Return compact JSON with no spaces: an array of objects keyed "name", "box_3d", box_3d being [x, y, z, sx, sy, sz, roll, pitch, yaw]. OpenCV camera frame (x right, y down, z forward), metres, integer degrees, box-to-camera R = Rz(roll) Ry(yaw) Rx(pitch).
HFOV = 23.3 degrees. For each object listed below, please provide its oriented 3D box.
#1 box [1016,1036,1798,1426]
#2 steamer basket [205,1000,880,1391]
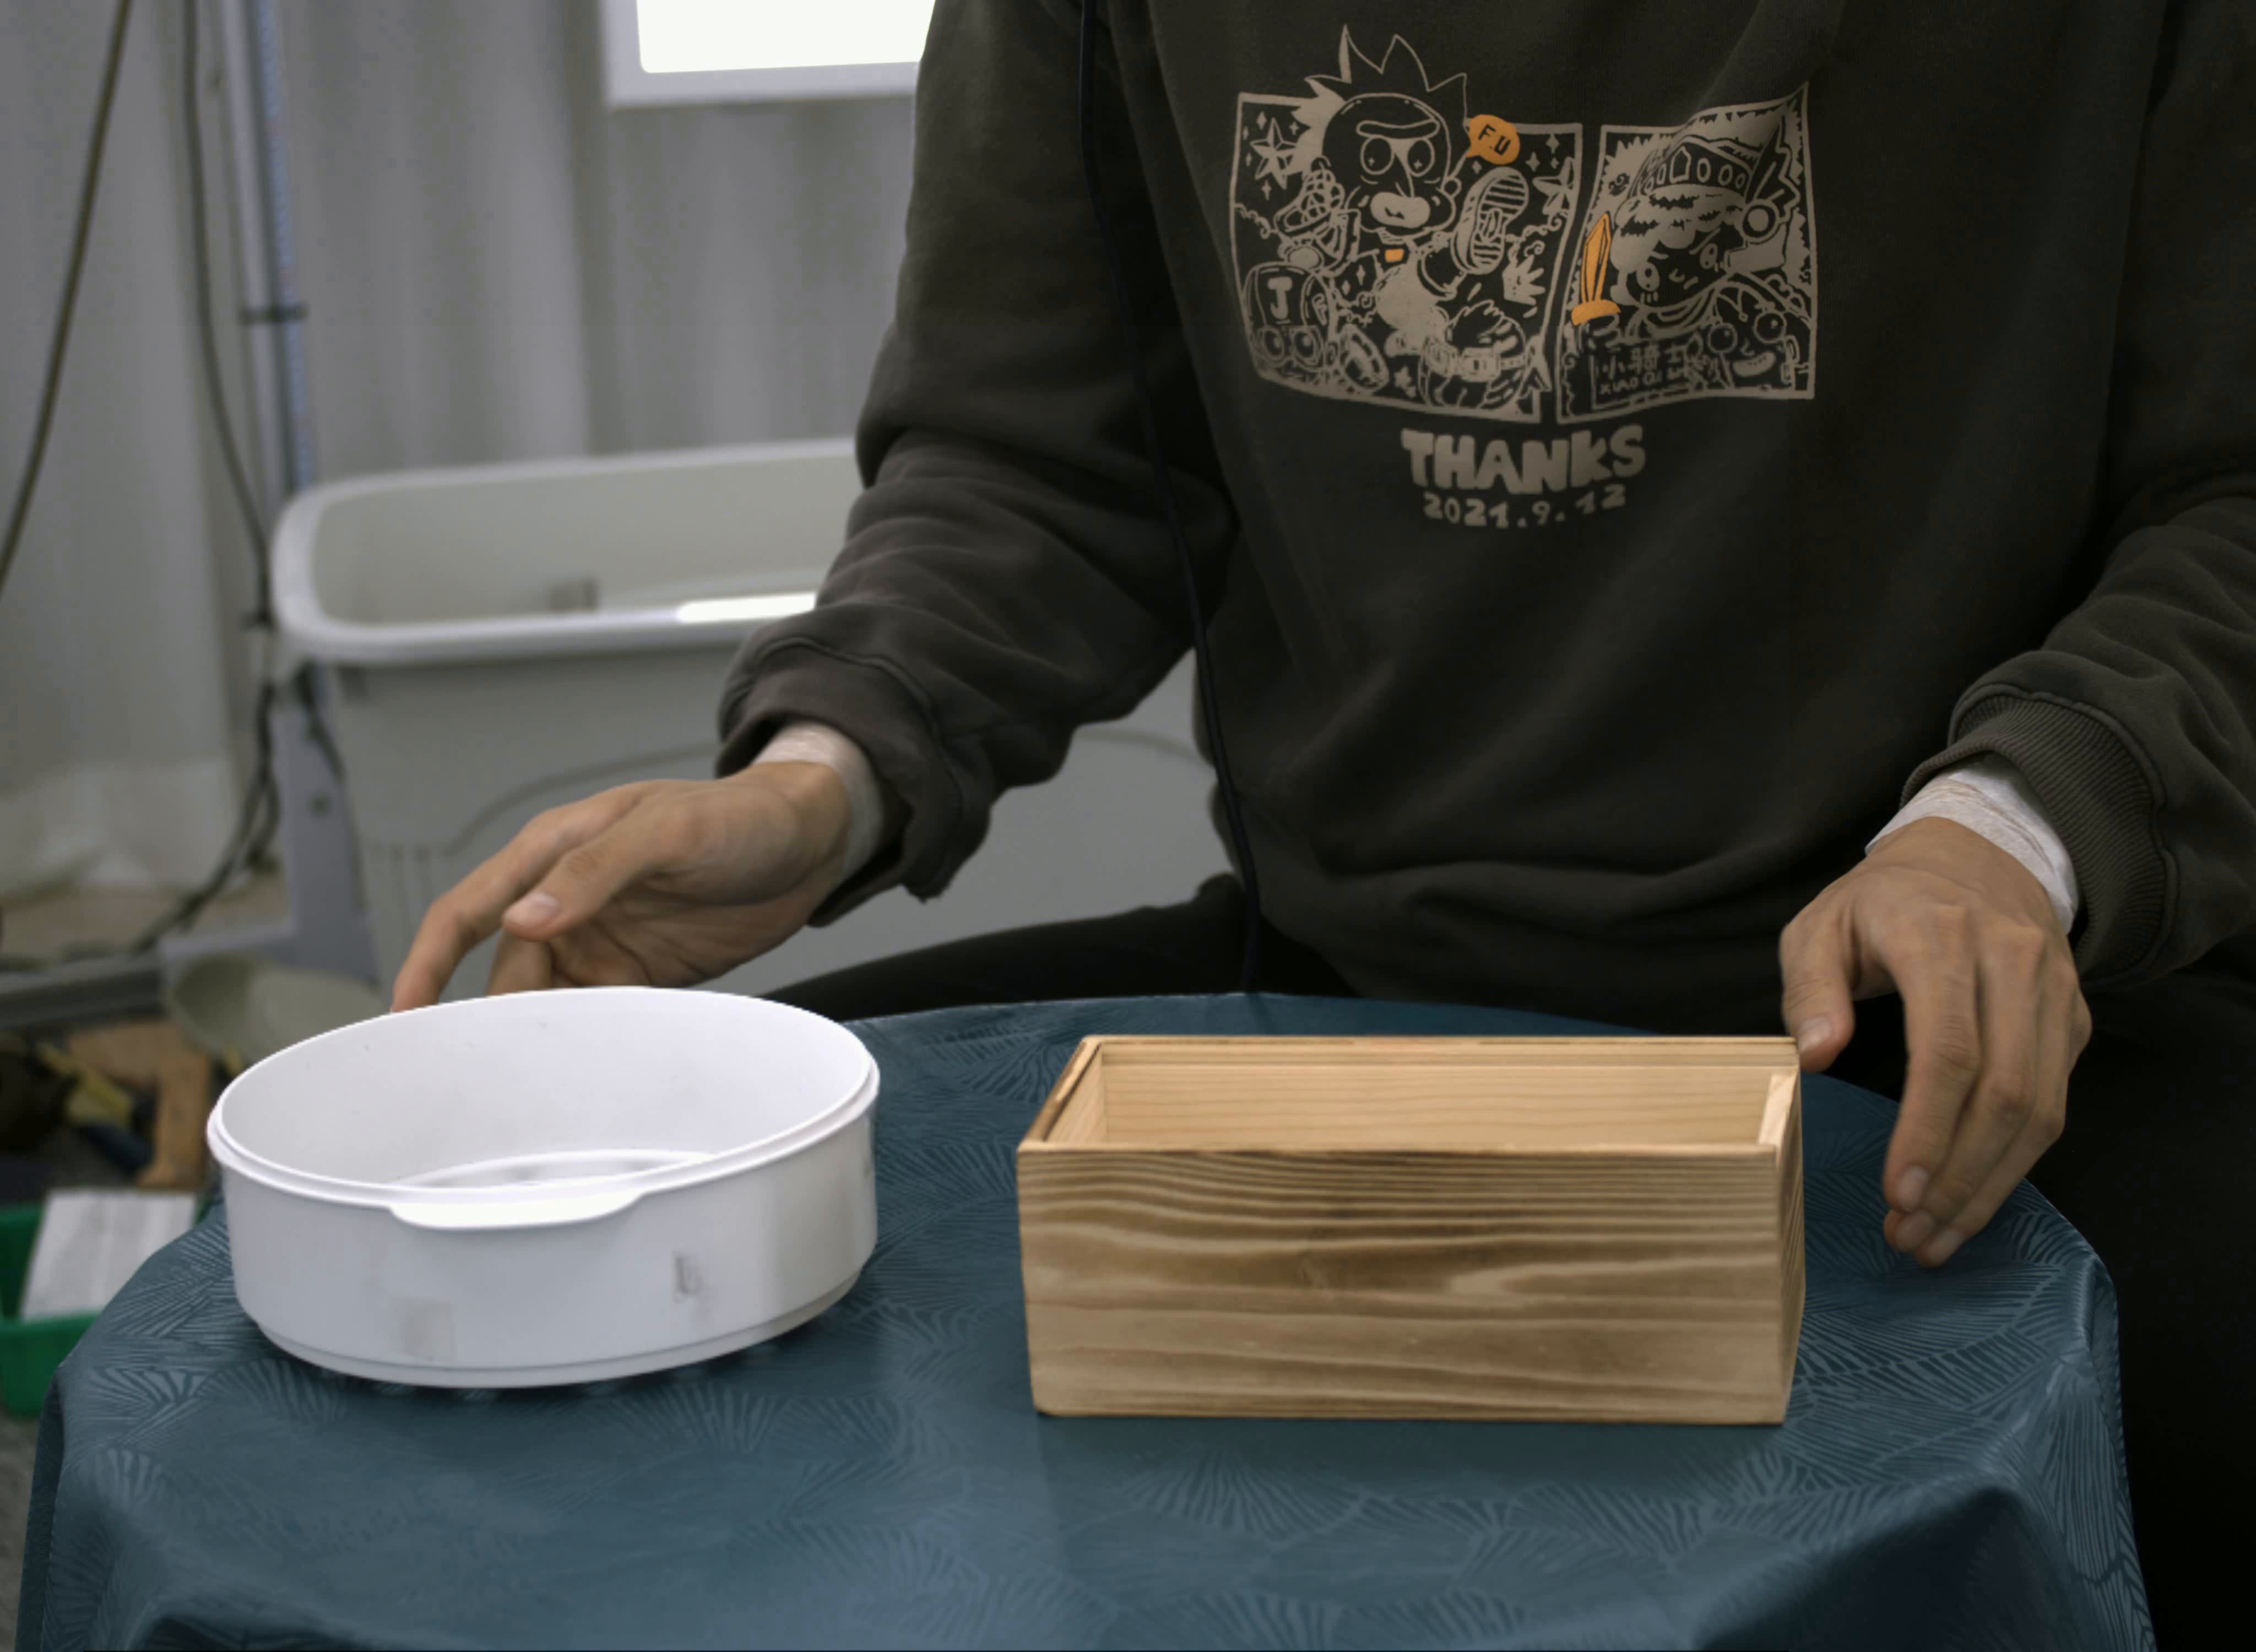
[{"name":"box","box_3d":[0.082,0.114,1.556,0.211,0.080,0.108,0,14,10]},{"name":"steamer basket","box_3d":[-0.174,0.110,1.644,0.201,0.069,0.232,-2,14,0]}]
